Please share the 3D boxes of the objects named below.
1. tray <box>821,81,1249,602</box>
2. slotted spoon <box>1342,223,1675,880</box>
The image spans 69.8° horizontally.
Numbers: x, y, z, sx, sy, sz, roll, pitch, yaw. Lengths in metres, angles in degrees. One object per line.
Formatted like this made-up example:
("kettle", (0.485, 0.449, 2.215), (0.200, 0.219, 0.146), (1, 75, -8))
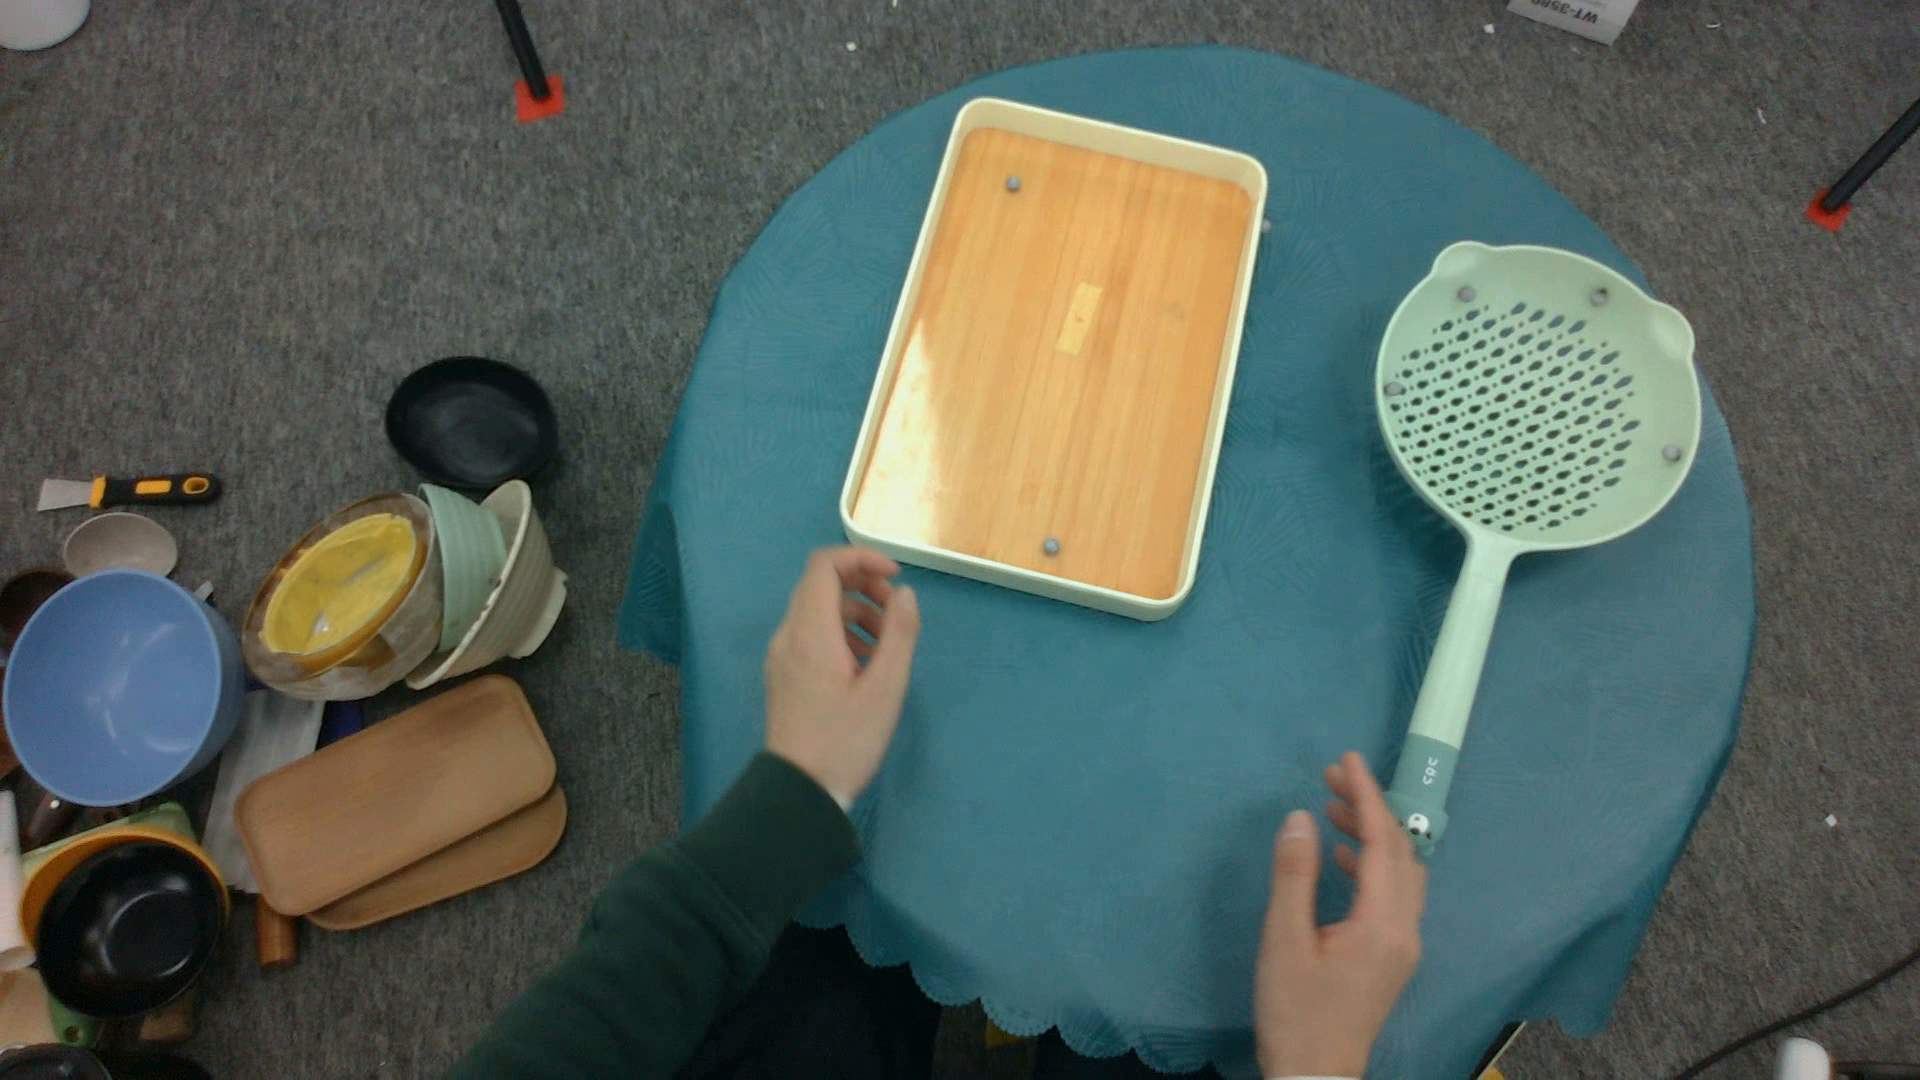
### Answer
("tray", (0.049, -0.122, 0.779), (0.191, 0.027, 0.301), (14, 66, 2))
("slotted spoon", (0.261, 0.002, 0.718), (0.169, 0.075, 0.360), (20, 67, 6))
